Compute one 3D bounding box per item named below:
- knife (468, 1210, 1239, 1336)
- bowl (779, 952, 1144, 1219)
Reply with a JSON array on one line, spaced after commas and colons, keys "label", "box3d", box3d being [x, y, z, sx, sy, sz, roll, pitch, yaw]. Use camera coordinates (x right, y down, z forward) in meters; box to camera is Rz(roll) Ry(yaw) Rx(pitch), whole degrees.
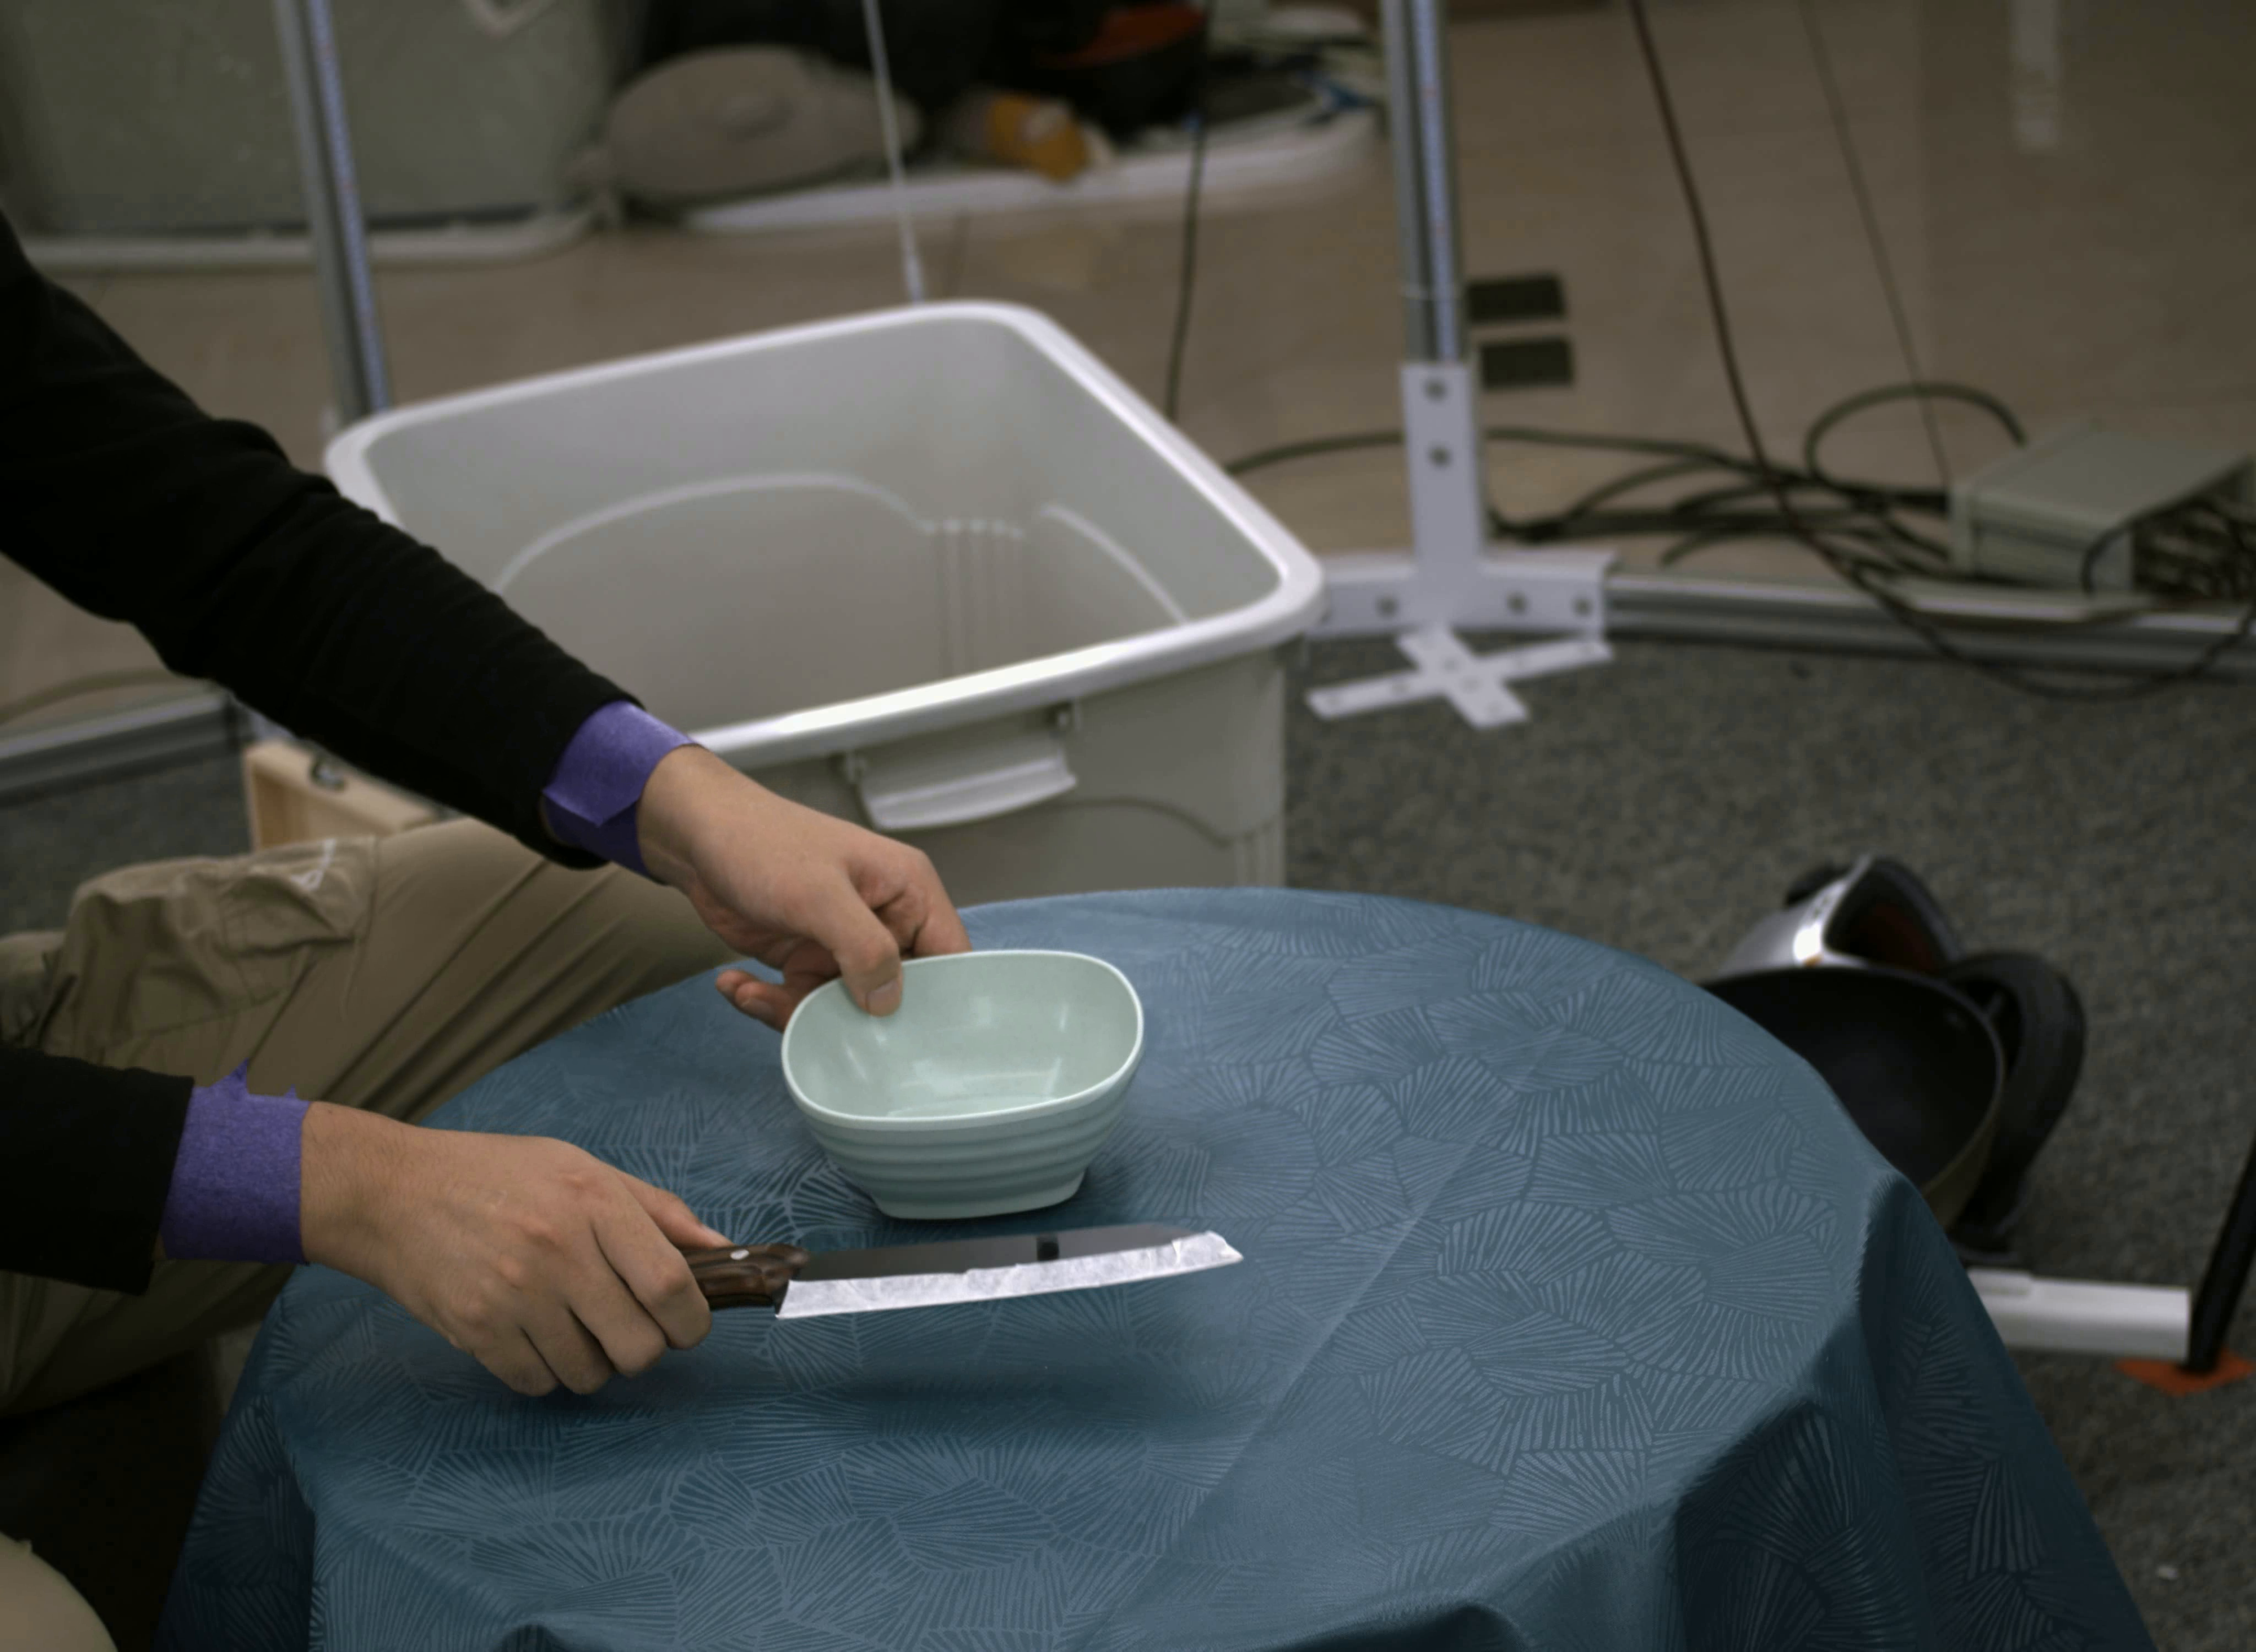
[{"label": "knife", "box3d": [-0.101, 0.160, 2.028, 0.289, 0.020, 0.049, -5, 28, 13]}, {"label": "bowl", "box3d": [-0.062, 0.104, 2.162, 0.151, 0.059, 0.149, -2, 26, 1]}]
